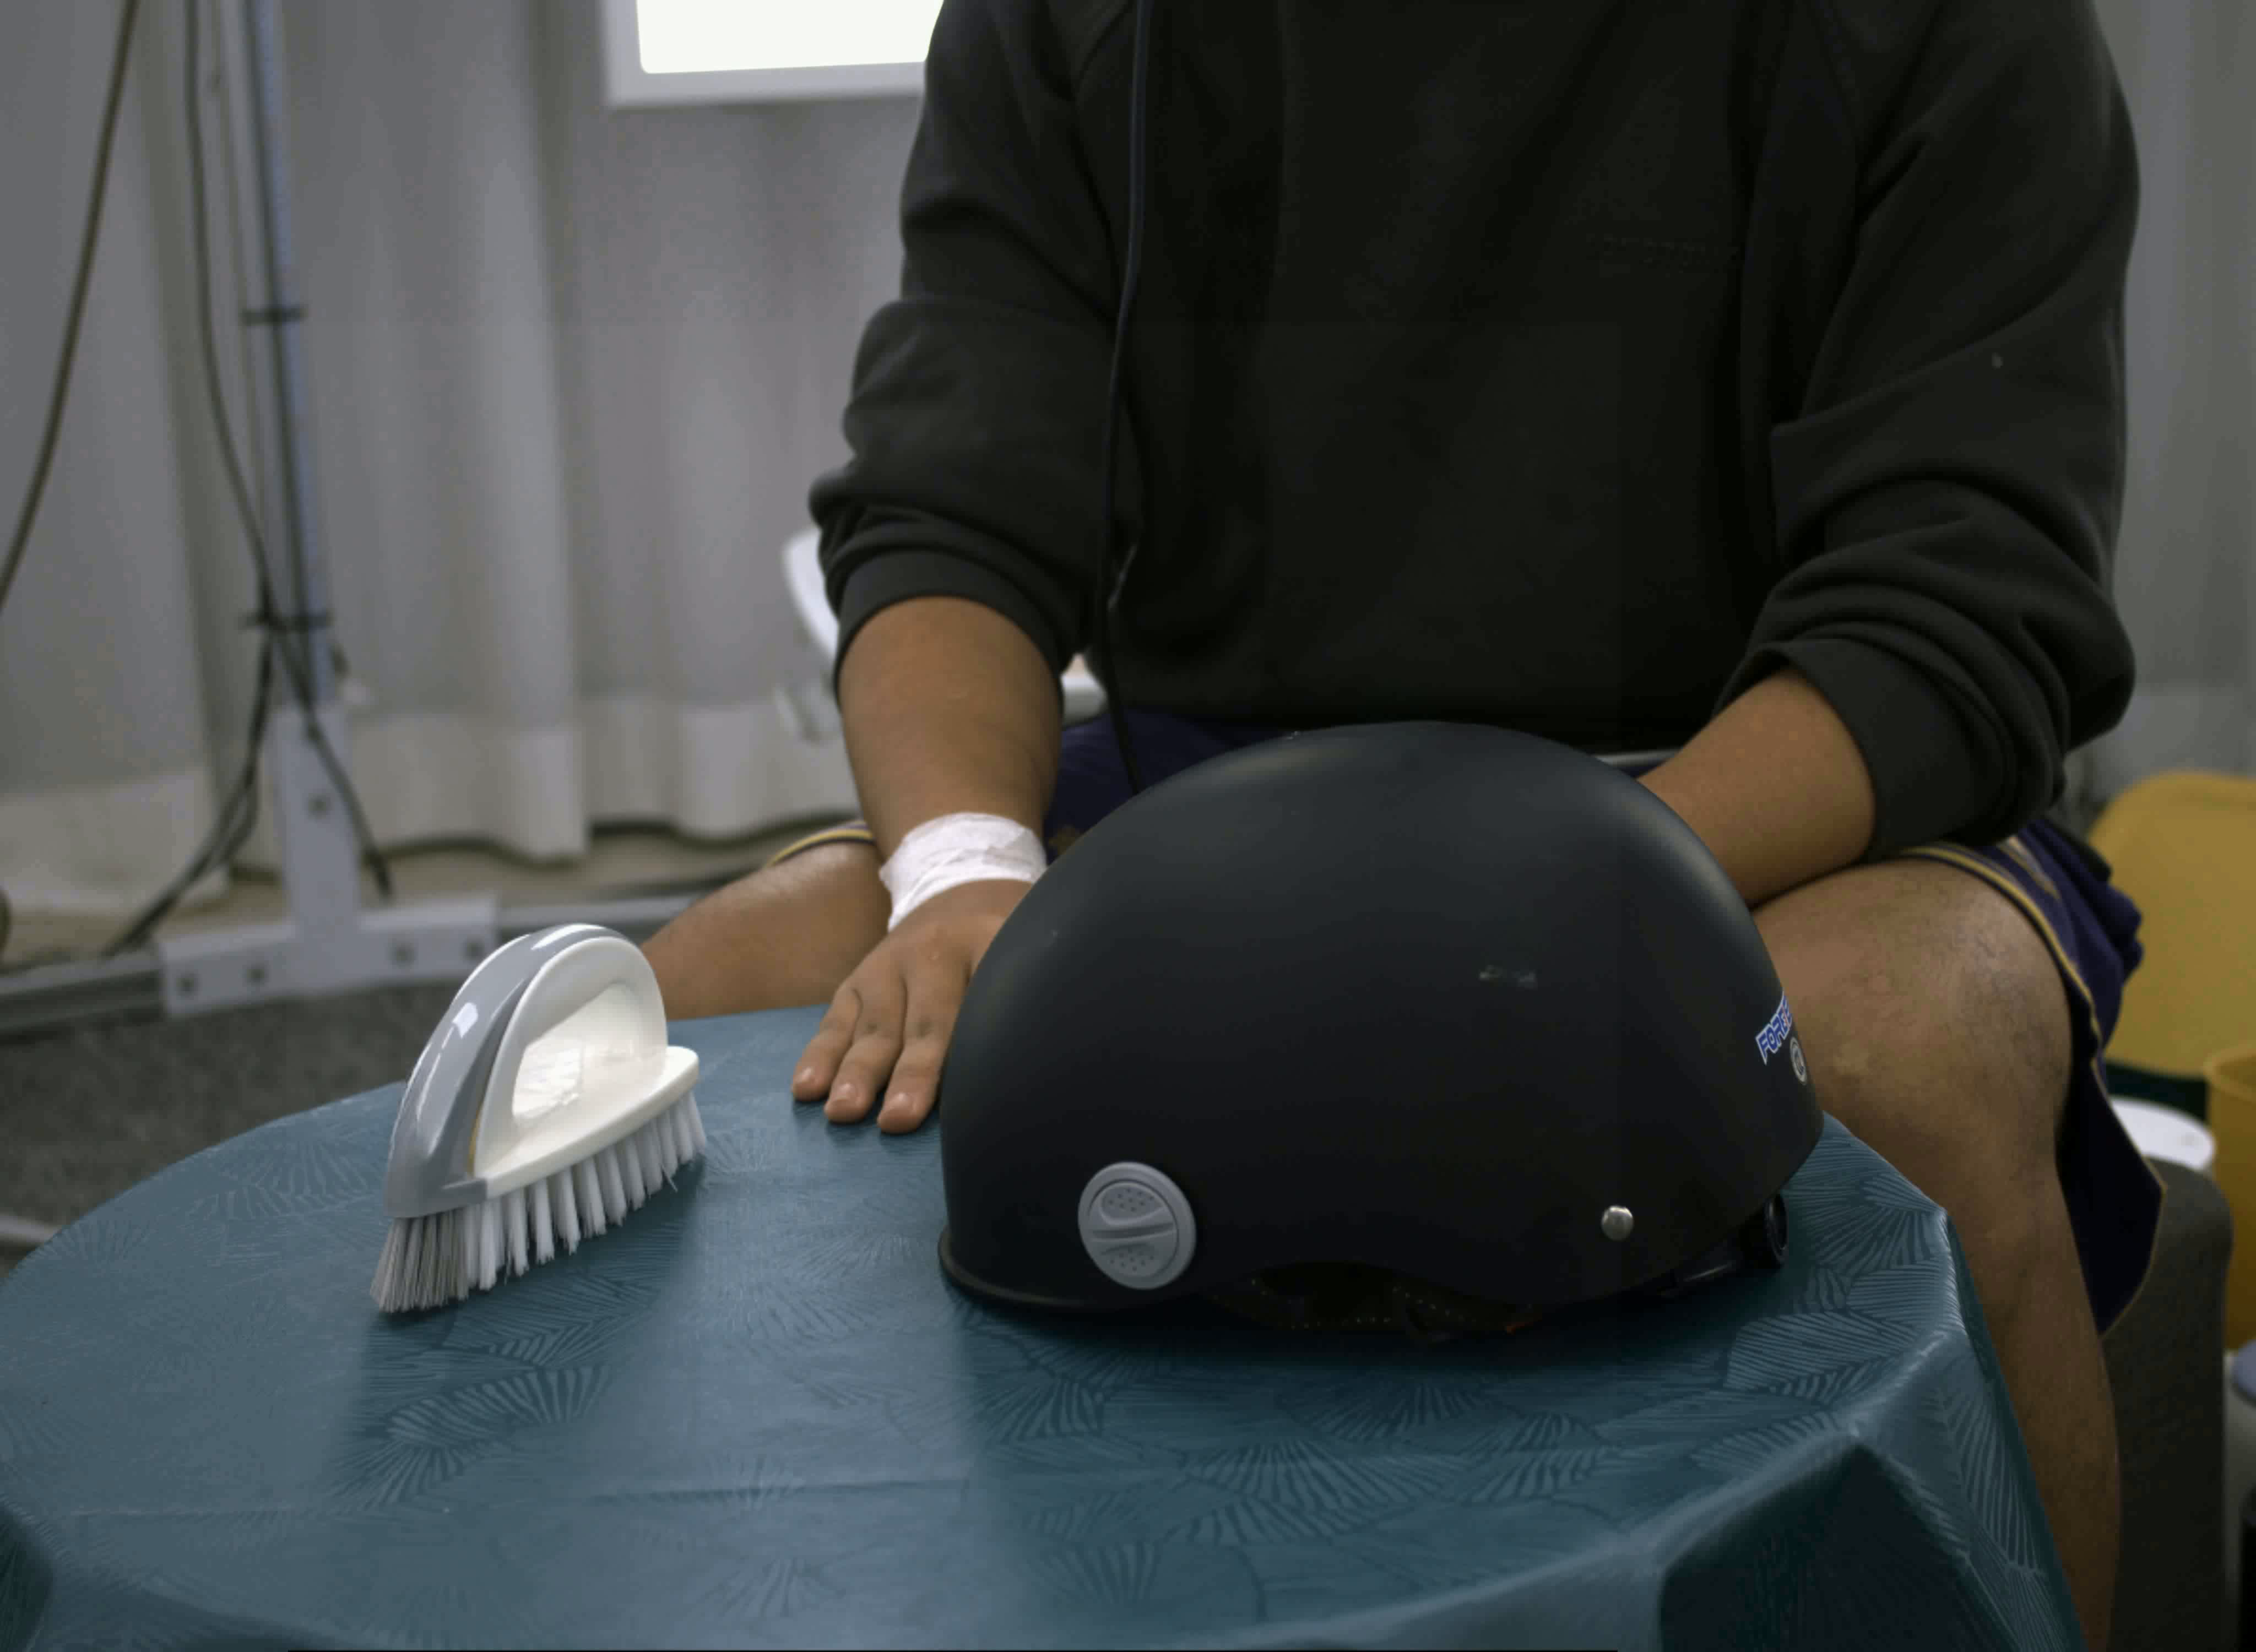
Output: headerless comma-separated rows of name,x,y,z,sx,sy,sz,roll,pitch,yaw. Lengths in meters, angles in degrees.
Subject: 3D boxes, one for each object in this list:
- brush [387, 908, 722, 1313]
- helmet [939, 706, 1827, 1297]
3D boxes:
brush,-0.187,0.082,1.696,0.061,0.094,0.176,1,16,22
helmet,0.070,0.049,1.639,0.273,0.166,0.231,0,14,20
